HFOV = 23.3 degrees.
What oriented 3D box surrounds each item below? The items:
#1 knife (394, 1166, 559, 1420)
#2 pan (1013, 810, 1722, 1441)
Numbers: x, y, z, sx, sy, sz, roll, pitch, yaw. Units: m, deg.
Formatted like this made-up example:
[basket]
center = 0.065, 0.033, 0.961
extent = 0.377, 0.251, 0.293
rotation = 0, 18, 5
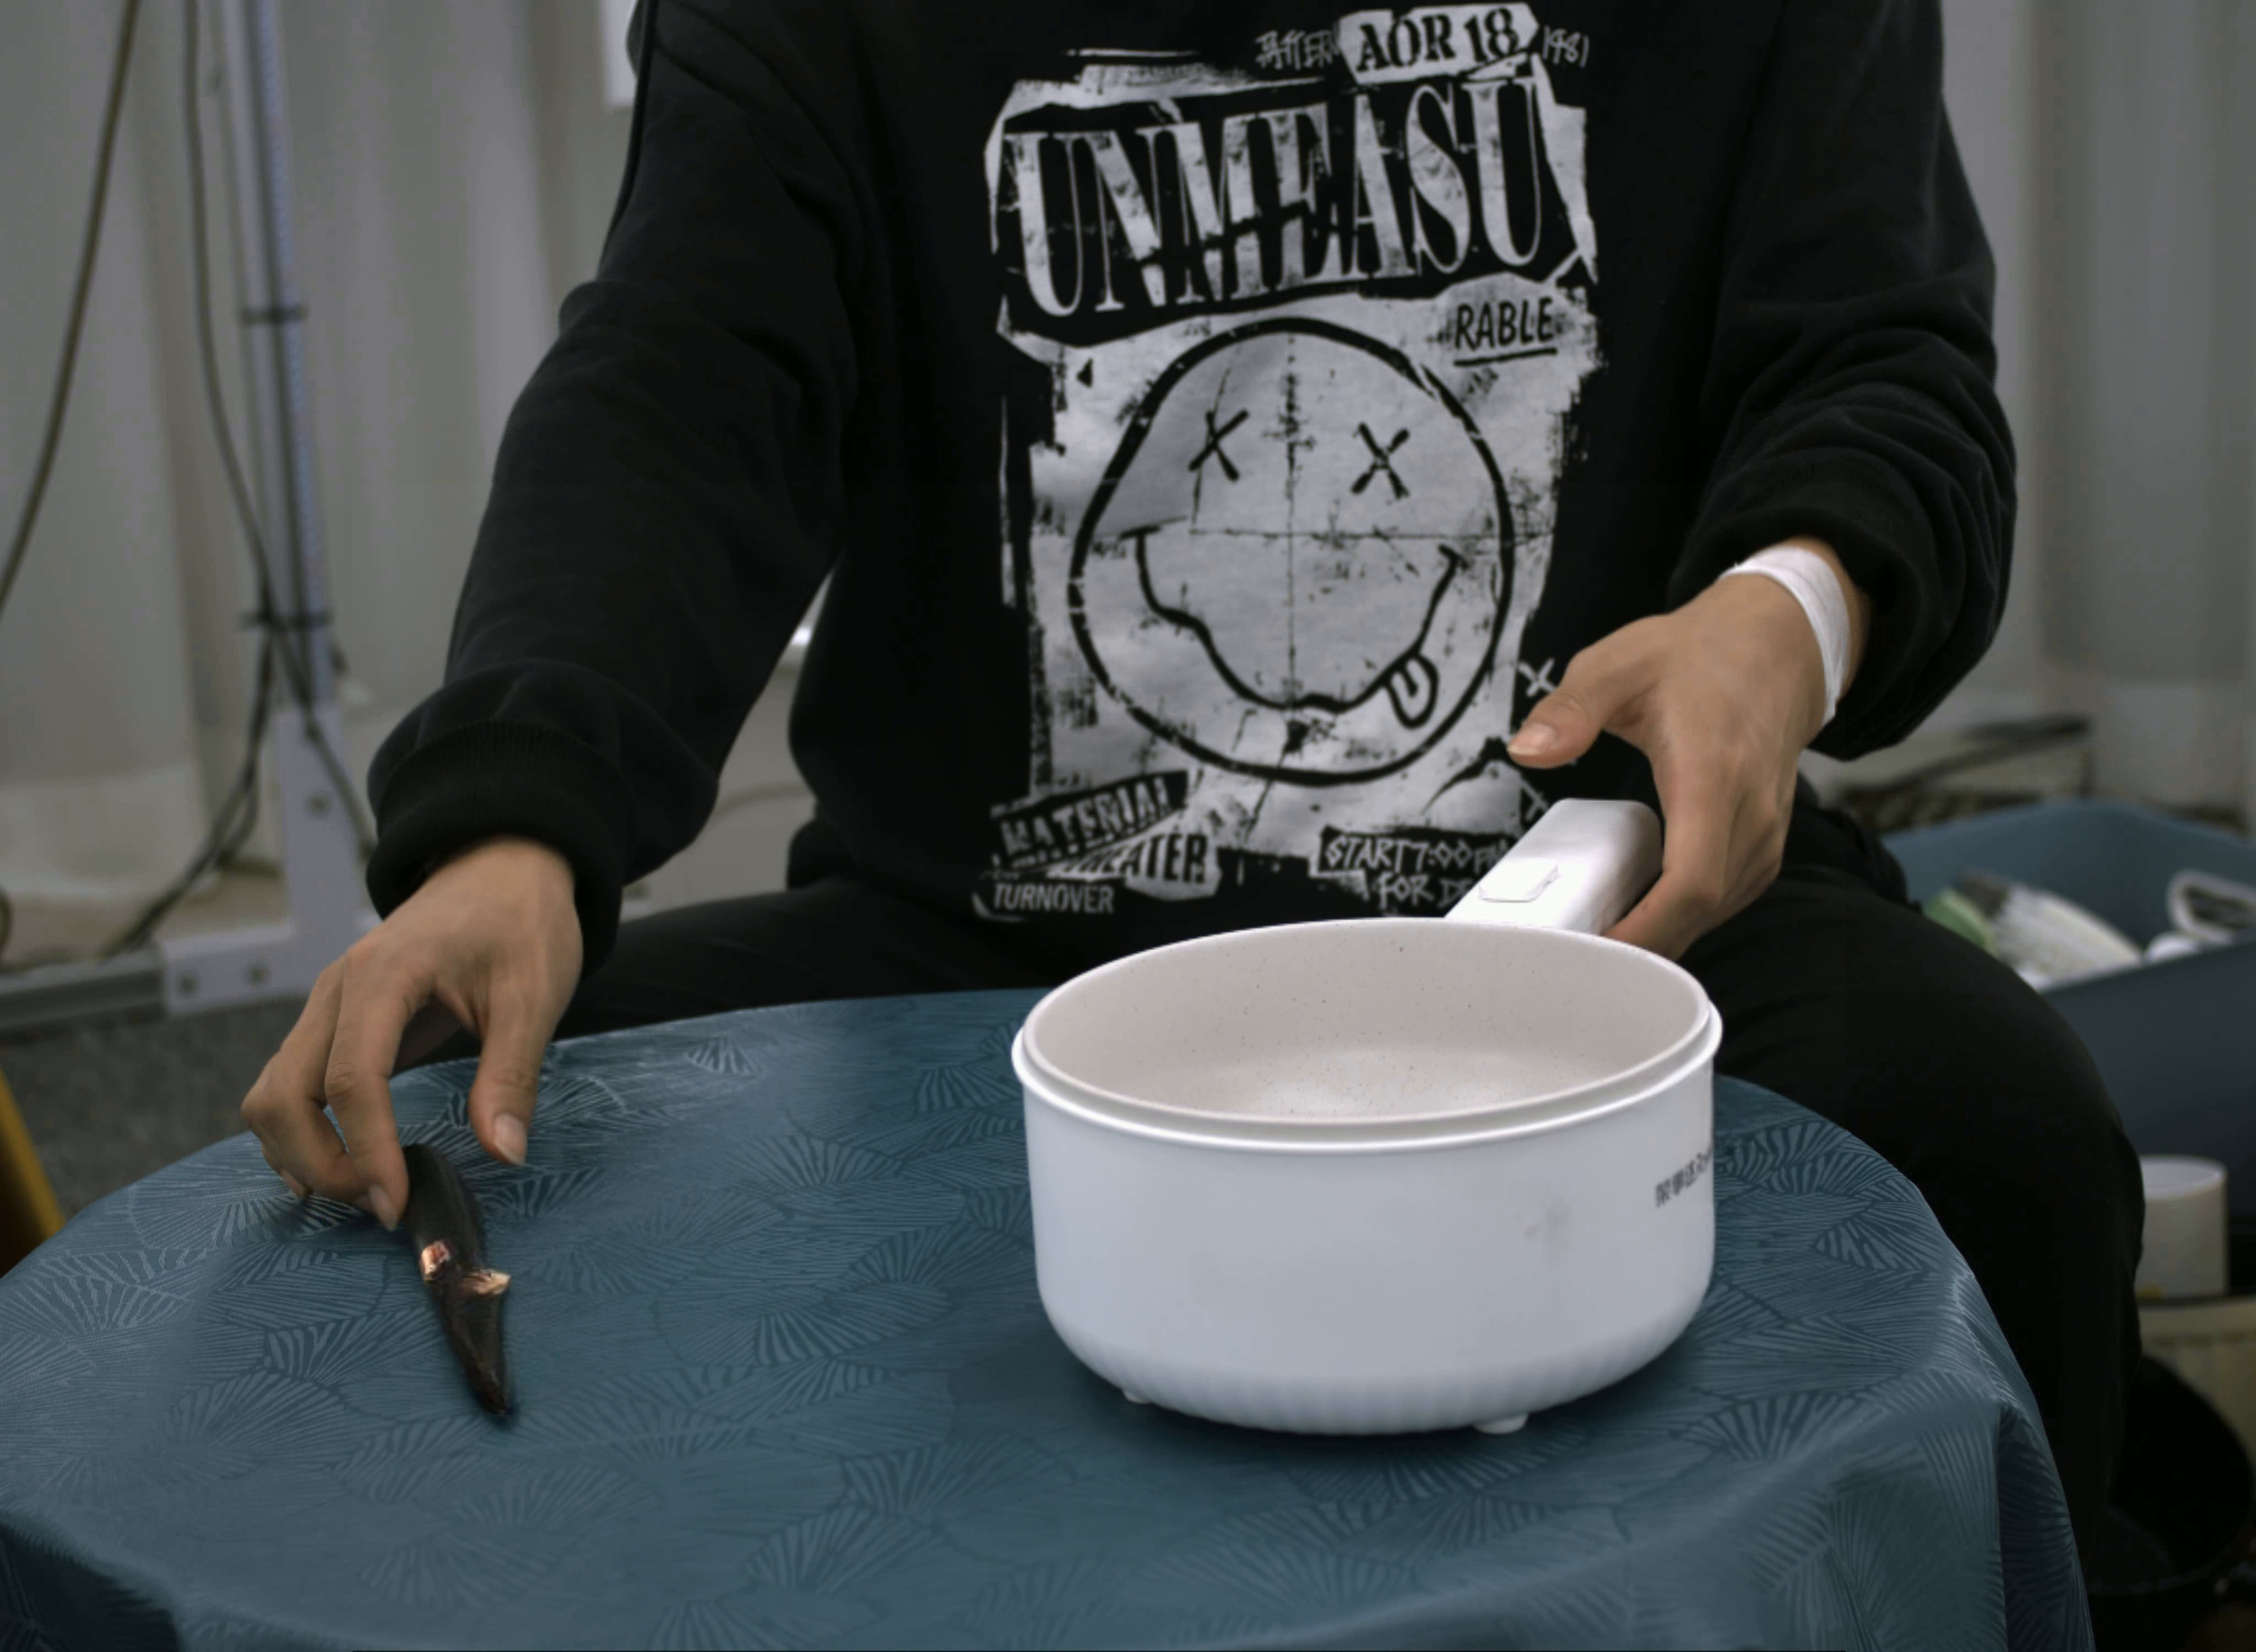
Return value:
[knife]
center = -0.197, 0.139, 1.641
extent = 0.026, 0.017, 0.227
rotation = 16, 8, -18
[pan]
center = 0.097, 0.084, 1.625
extent = 0.201, 0.102, 0.356
rotation = 1, 15, 21
